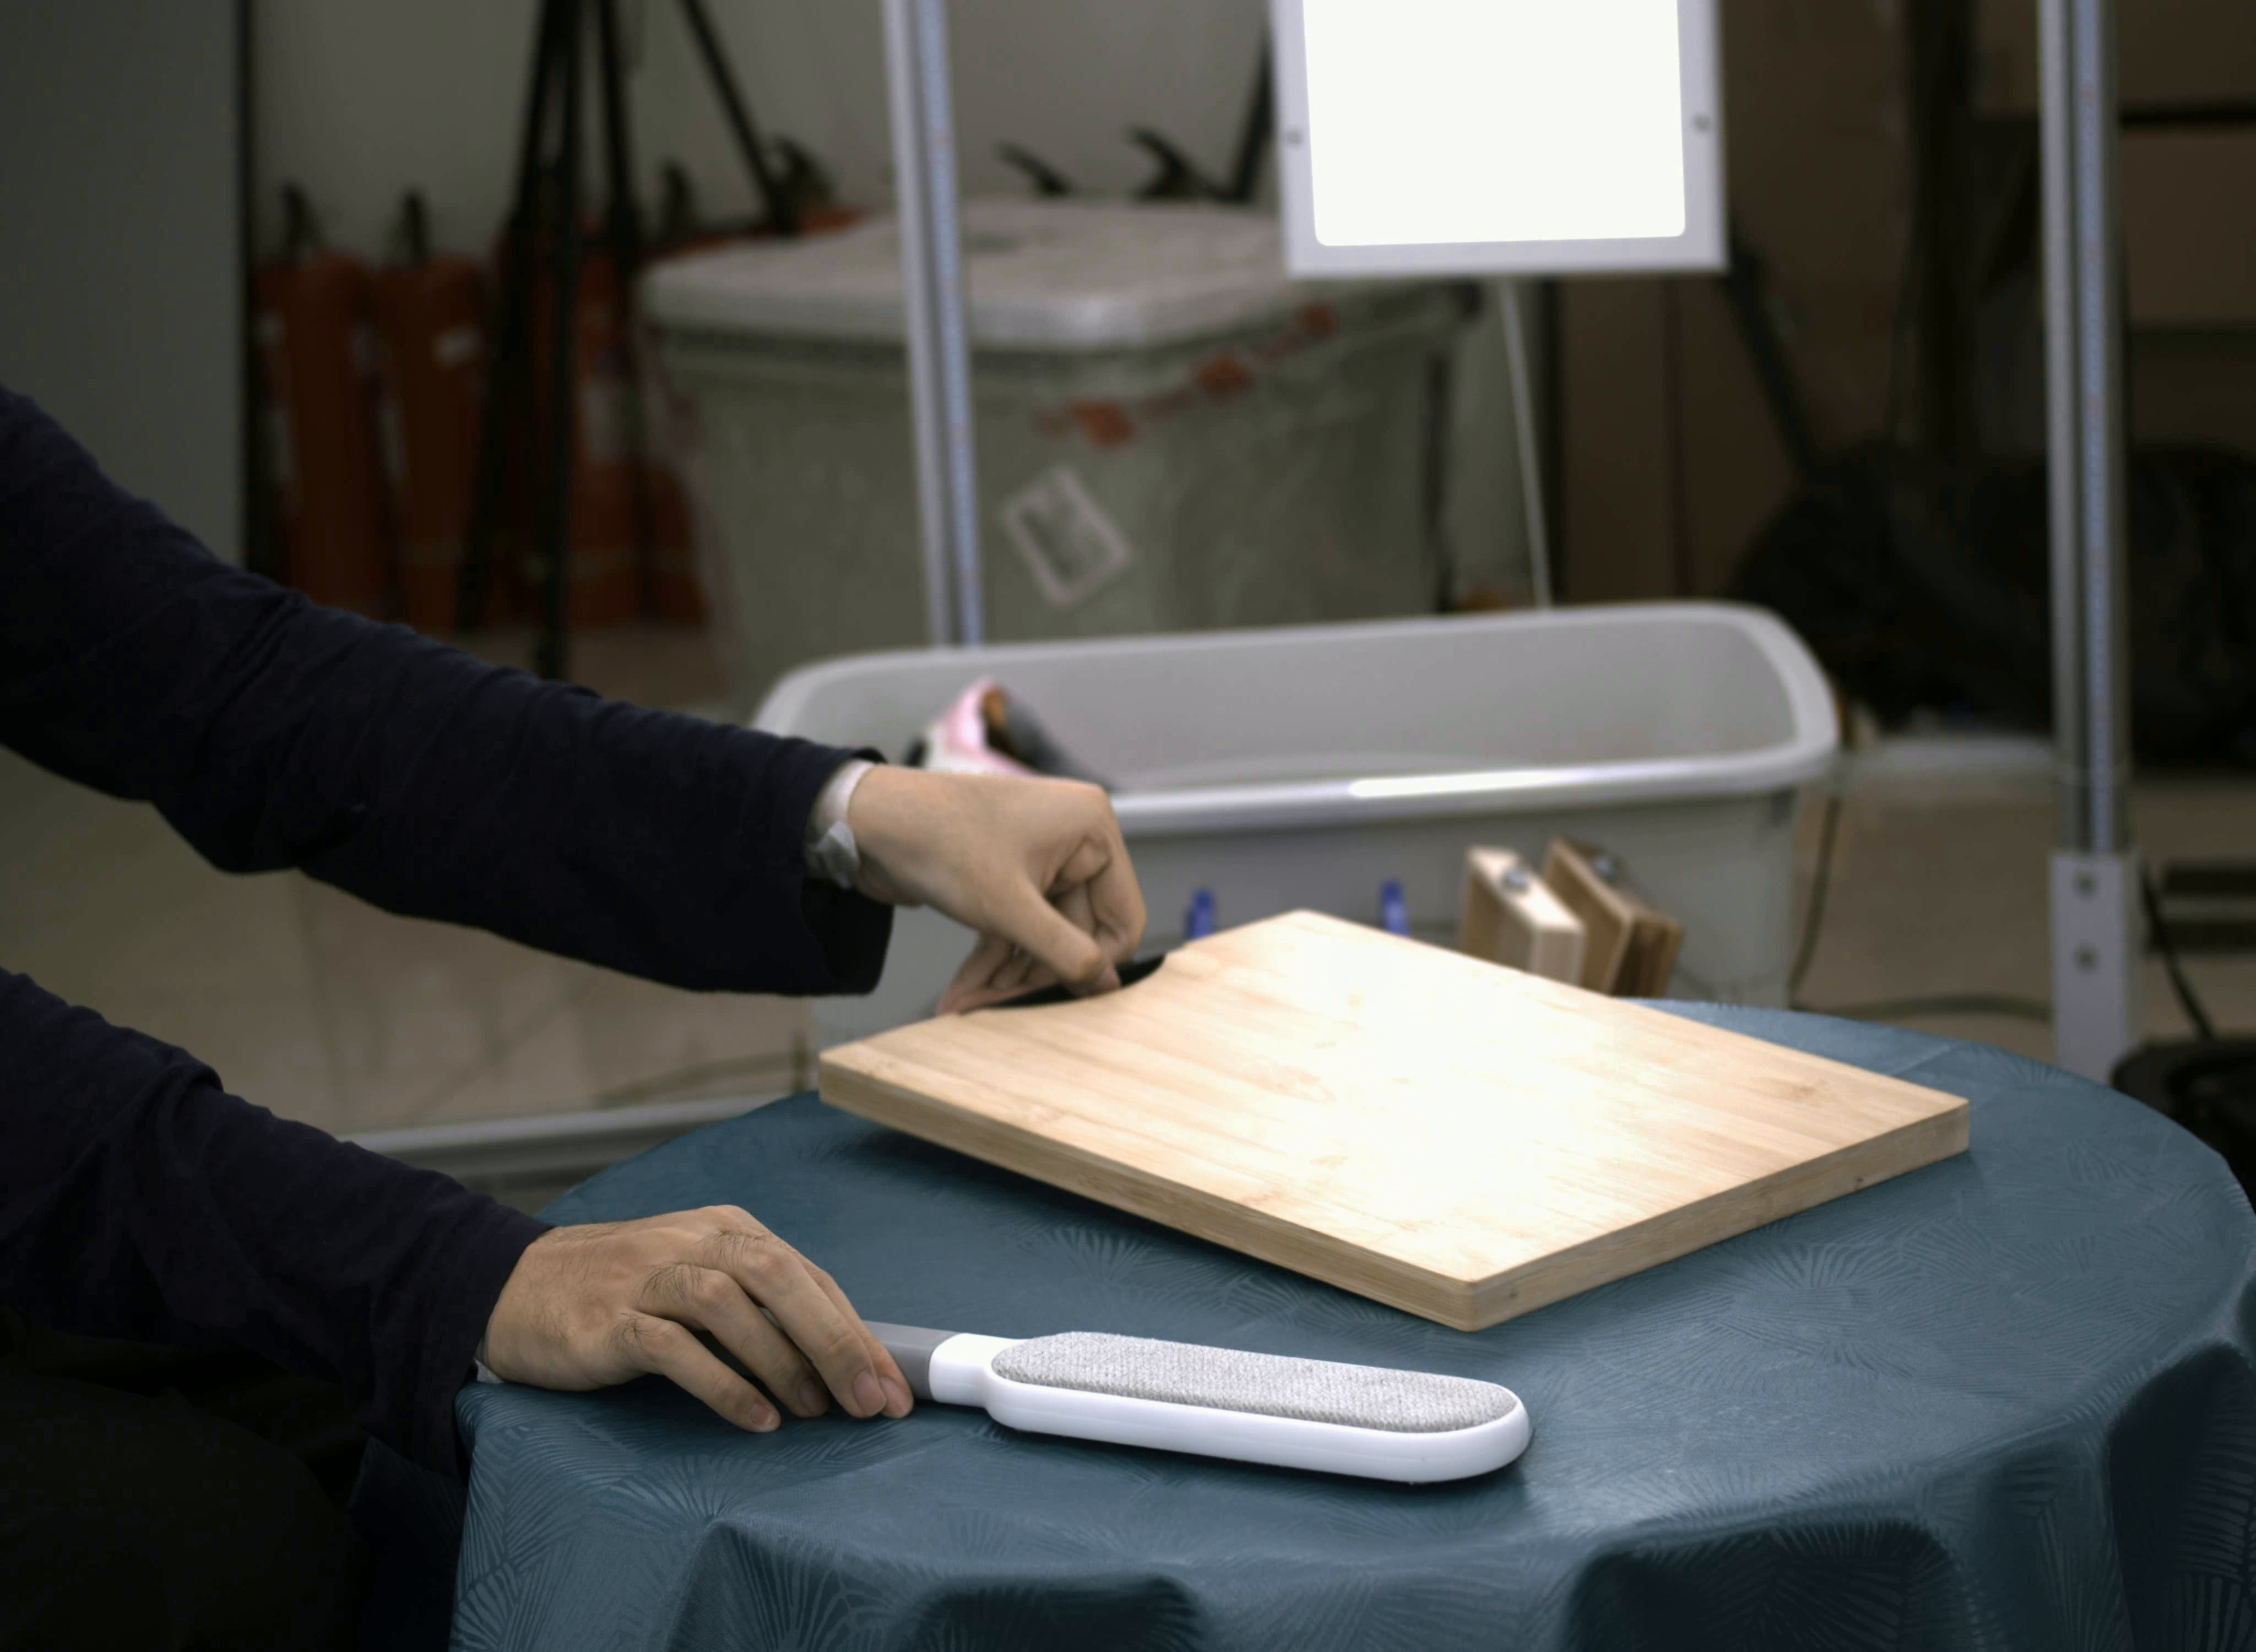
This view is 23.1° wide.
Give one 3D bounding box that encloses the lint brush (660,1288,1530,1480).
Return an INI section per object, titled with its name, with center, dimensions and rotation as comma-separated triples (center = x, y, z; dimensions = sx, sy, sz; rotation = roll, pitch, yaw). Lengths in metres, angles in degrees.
[lint brush]
center = -0.017, 0.167, 1.685
dimensions = 0.315, 0.021, 0.058
rotation = 4, 20, 34

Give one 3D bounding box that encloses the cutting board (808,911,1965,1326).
[cutting board]
center = 0.086, 0.097, 1.927
dimensions = 0.244, 0.024, 0.356
rotation = -16, 20, -38
